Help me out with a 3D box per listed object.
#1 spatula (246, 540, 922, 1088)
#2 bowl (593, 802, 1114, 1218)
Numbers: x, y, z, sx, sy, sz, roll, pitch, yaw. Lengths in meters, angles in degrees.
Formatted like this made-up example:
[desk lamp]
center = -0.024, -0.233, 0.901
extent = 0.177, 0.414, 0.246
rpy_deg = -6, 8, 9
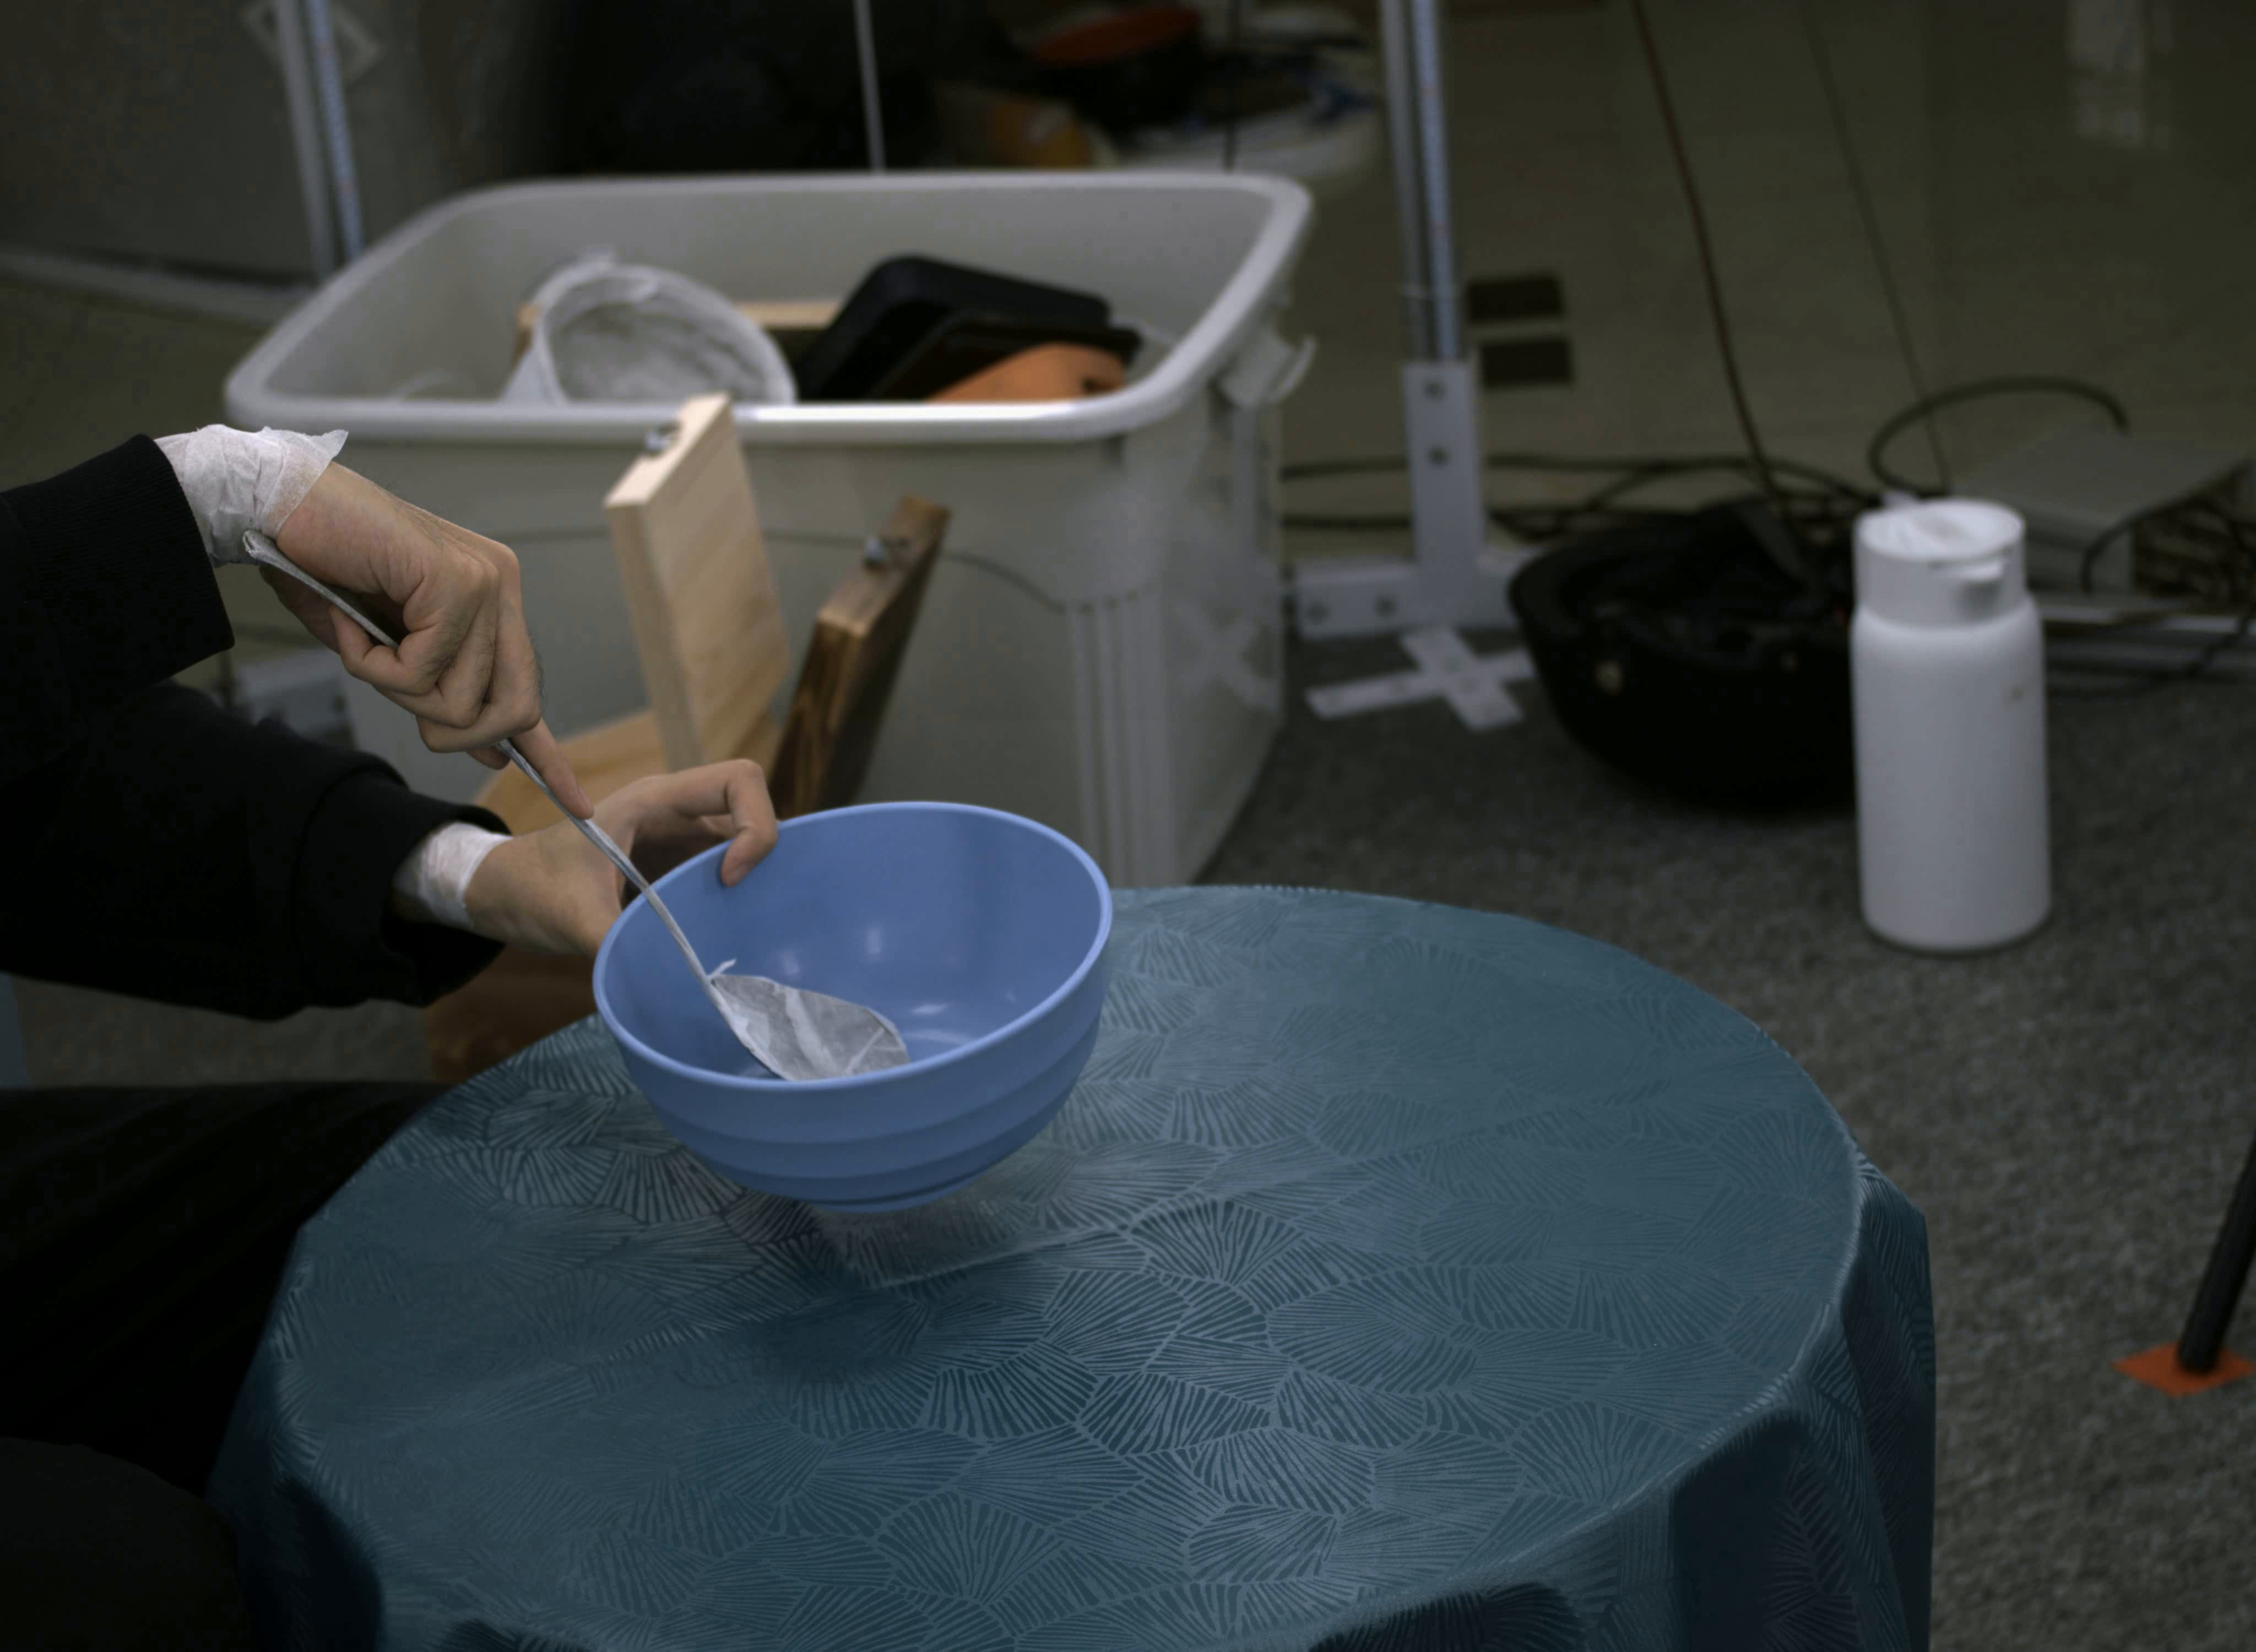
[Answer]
[spatula]
center = -0.187, 0.004, 2.056
extent = 0.045, 0.370, 0.097
rpy_deg = -38, 36, 5
[bowl]
center = -0.096, 0.083, 2.128
extent = 0.196, 0.097, 0.193
rpy_deg = -7, 33, 4
